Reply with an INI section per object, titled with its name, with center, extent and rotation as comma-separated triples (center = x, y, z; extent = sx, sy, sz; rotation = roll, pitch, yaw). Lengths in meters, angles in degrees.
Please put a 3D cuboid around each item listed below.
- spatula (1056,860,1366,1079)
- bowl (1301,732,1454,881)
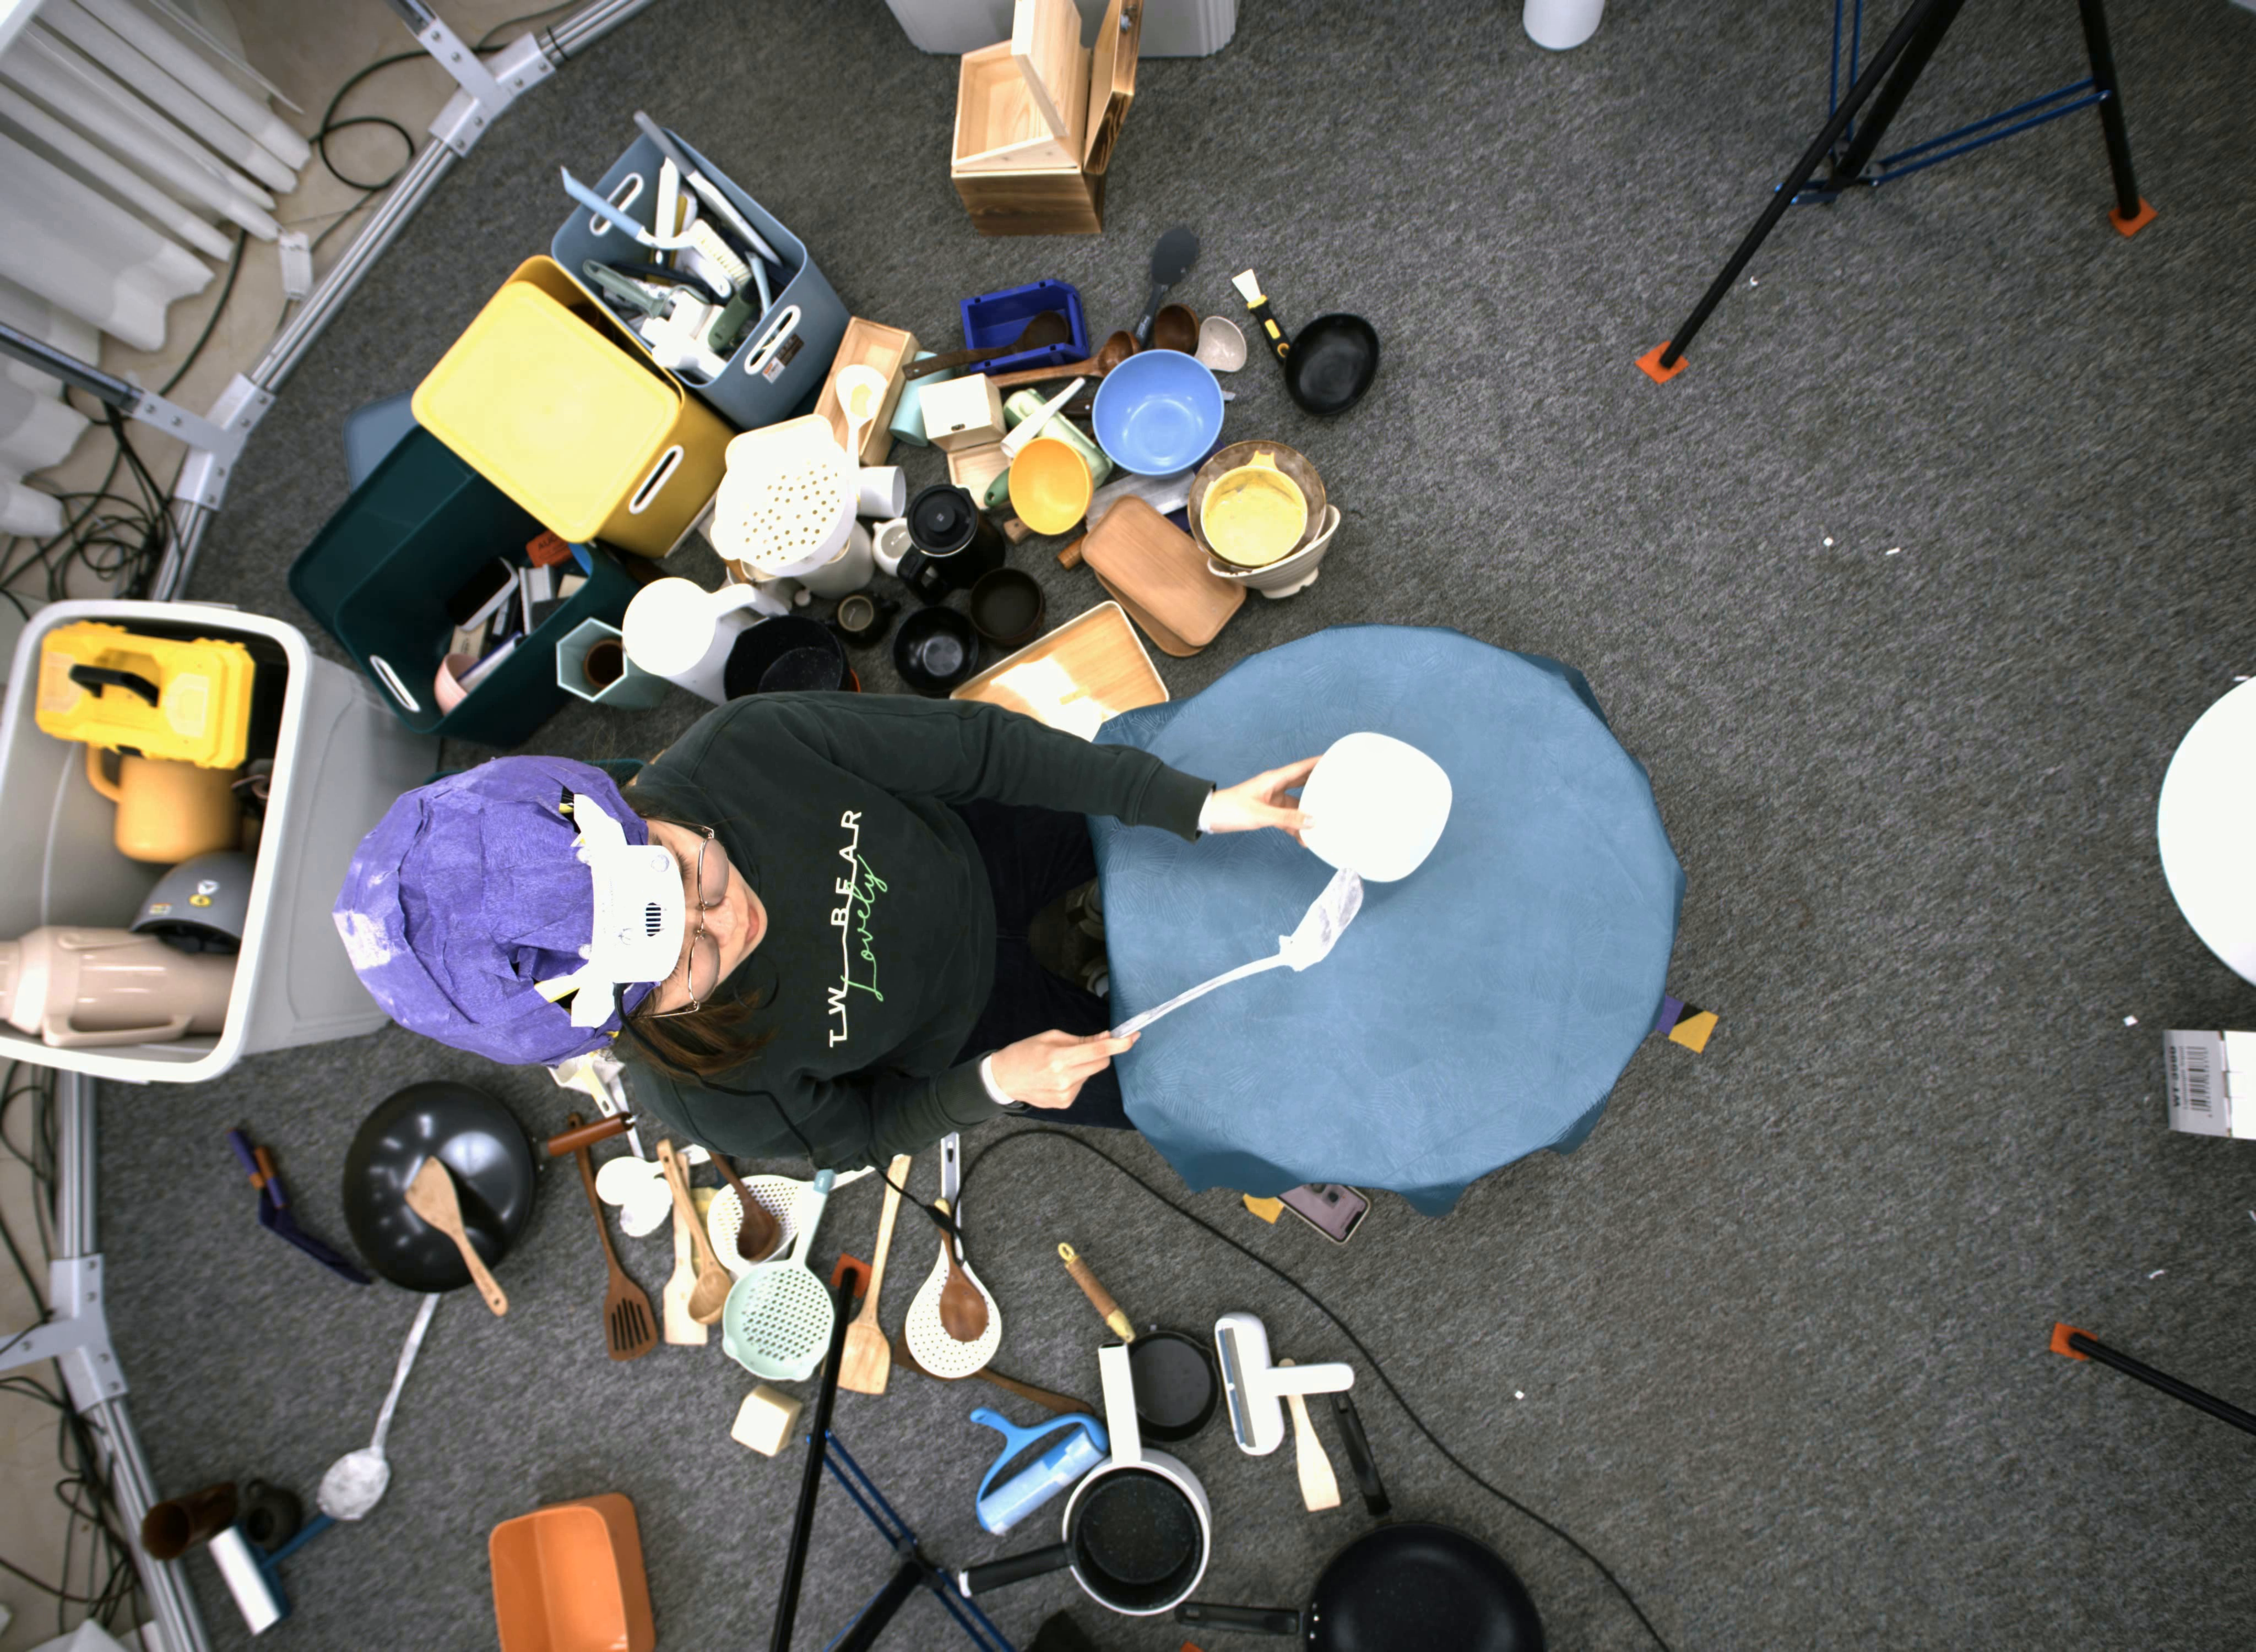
[spatula]
center = 0.069, 0.147, 1.291
extent = 0.369, 0.096, 0.045
rotation = -30, 114, 18
[bowl]
center = 0.244, -0.025, 1.363
extent = 0.152, 0.058, 0.153
rotation = 2, 105, 6
